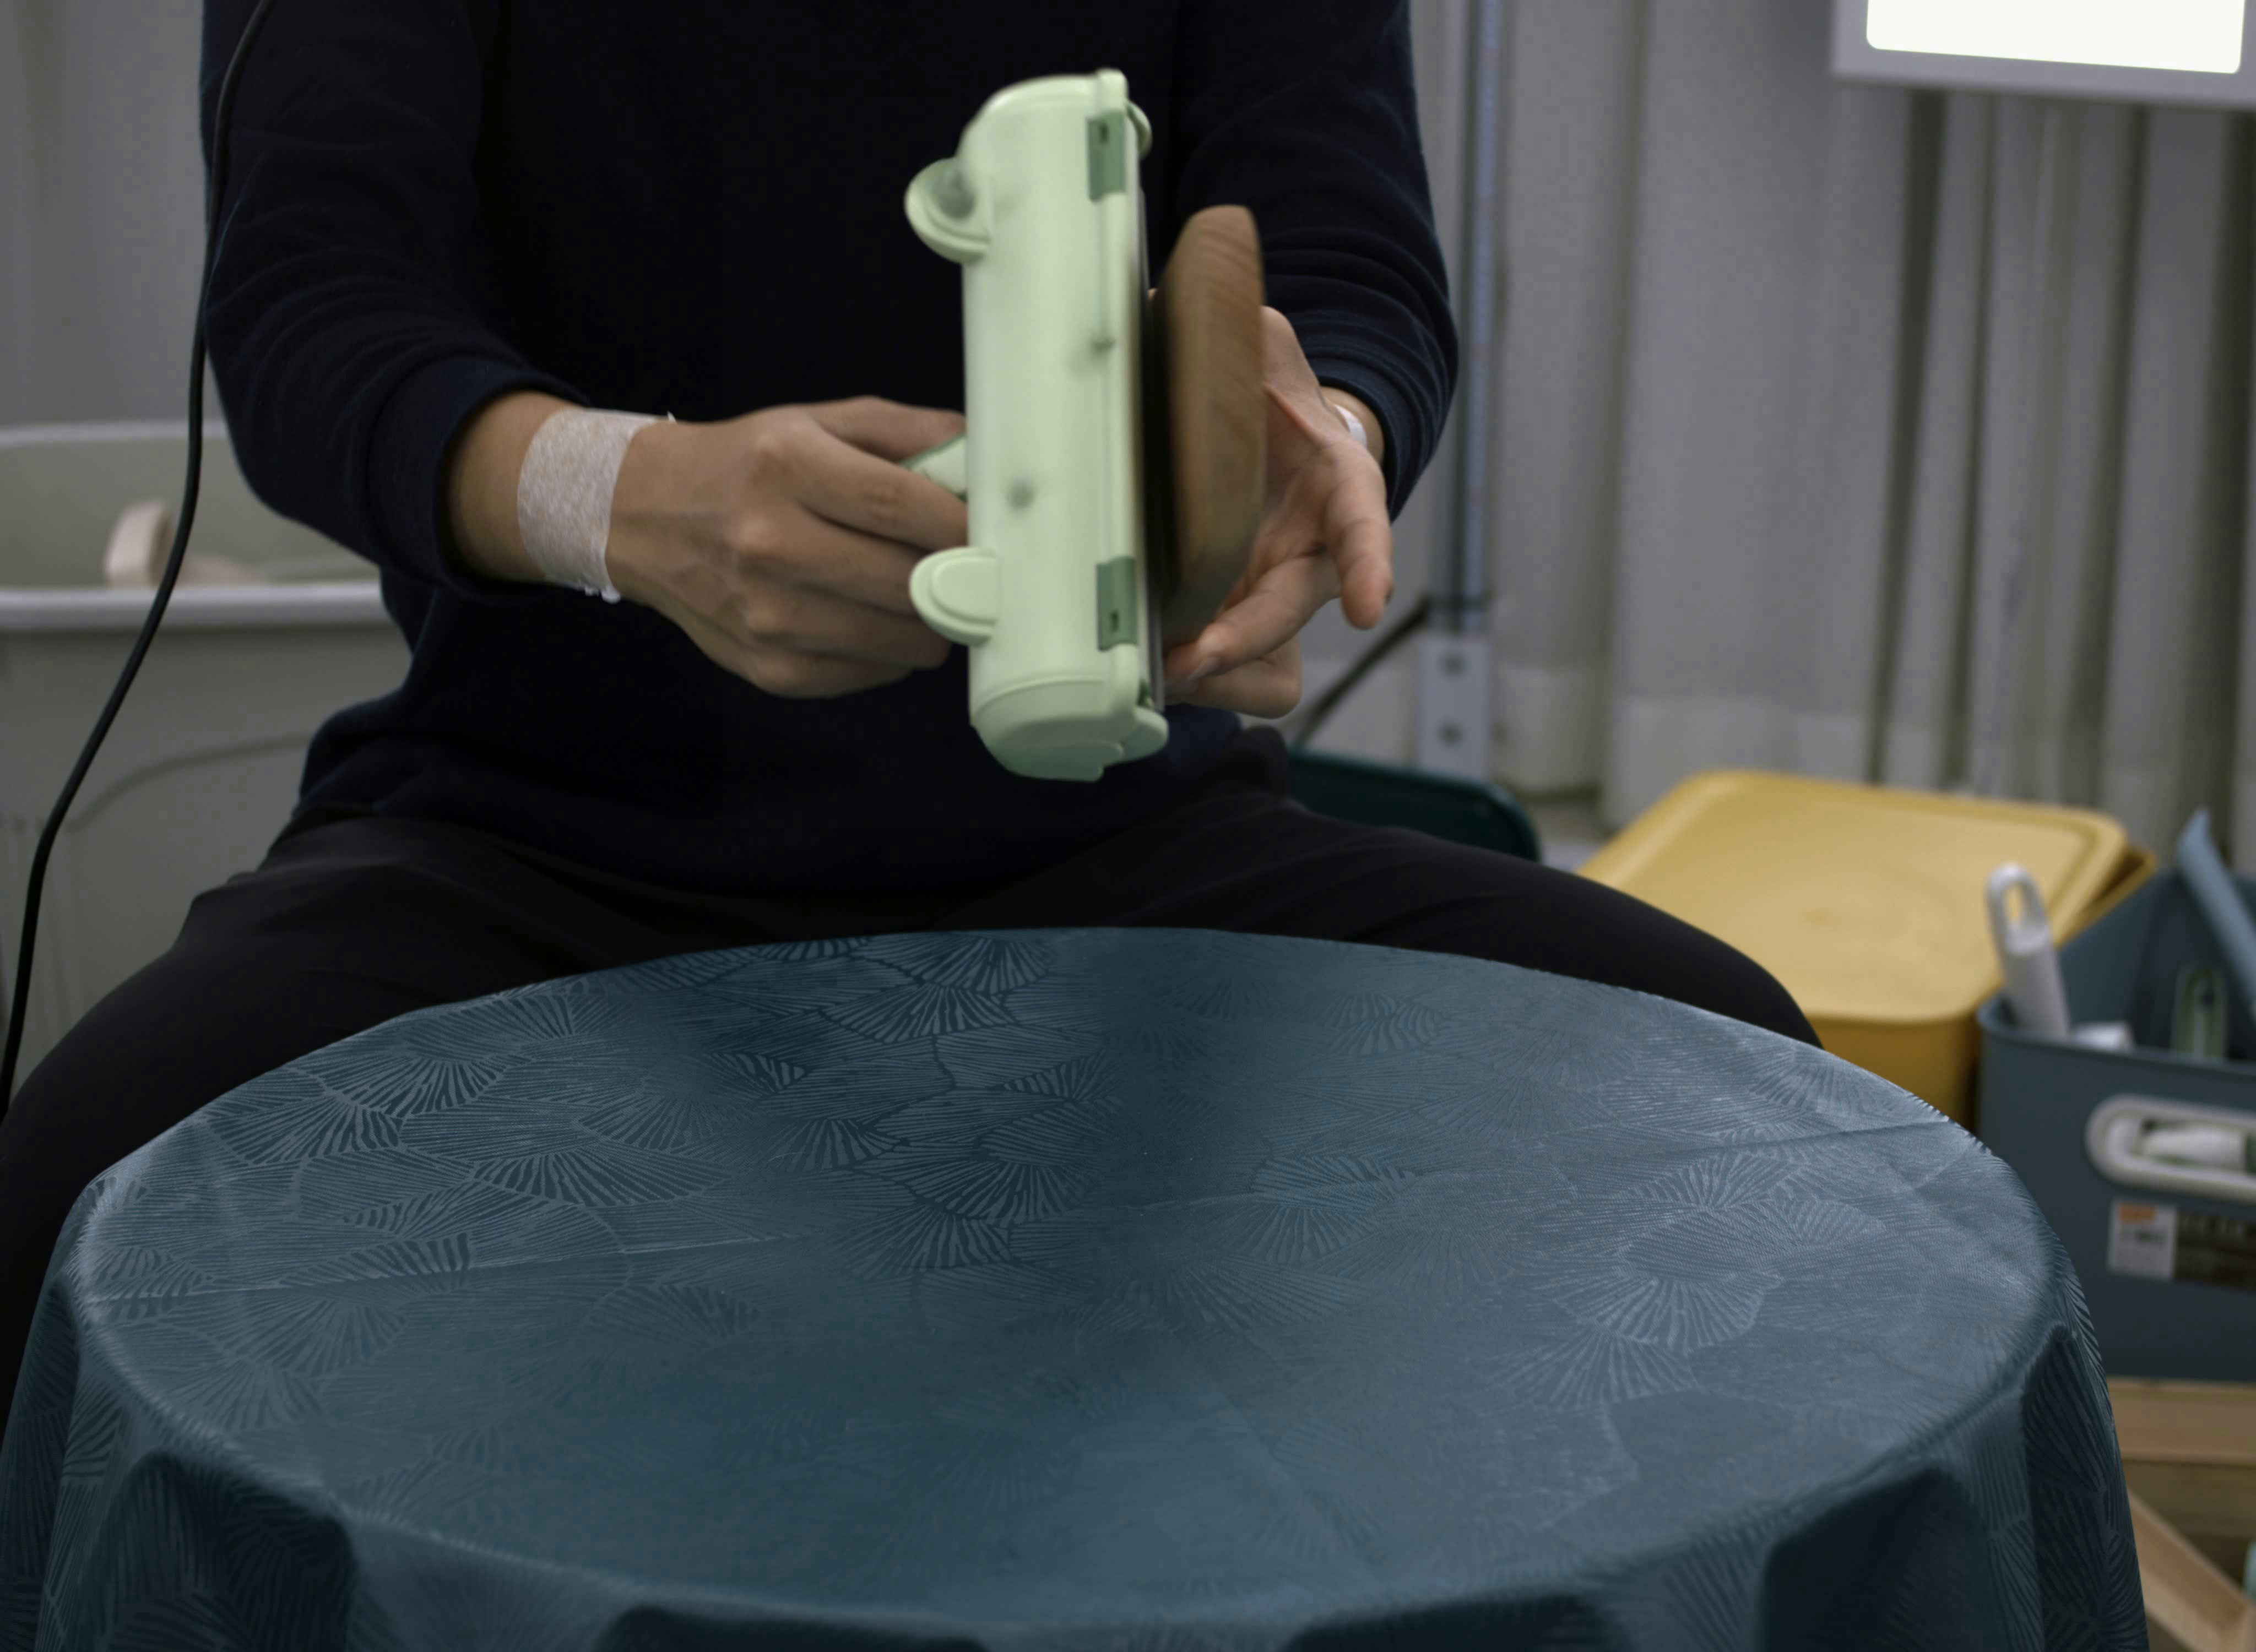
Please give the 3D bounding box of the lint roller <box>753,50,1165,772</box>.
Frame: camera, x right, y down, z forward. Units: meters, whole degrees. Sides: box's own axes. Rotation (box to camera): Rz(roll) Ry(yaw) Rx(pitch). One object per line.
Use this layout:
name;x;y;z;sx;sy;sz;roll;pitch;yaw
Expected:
lint roller;-0.065;-0.101;1.479;0.182;0.198;0.083;-20;-27;41

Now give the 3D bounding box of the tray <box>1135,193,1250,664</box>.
tray;0.012;-0.109;1.480;0.020;0.101;0.231;1;-9;-7
